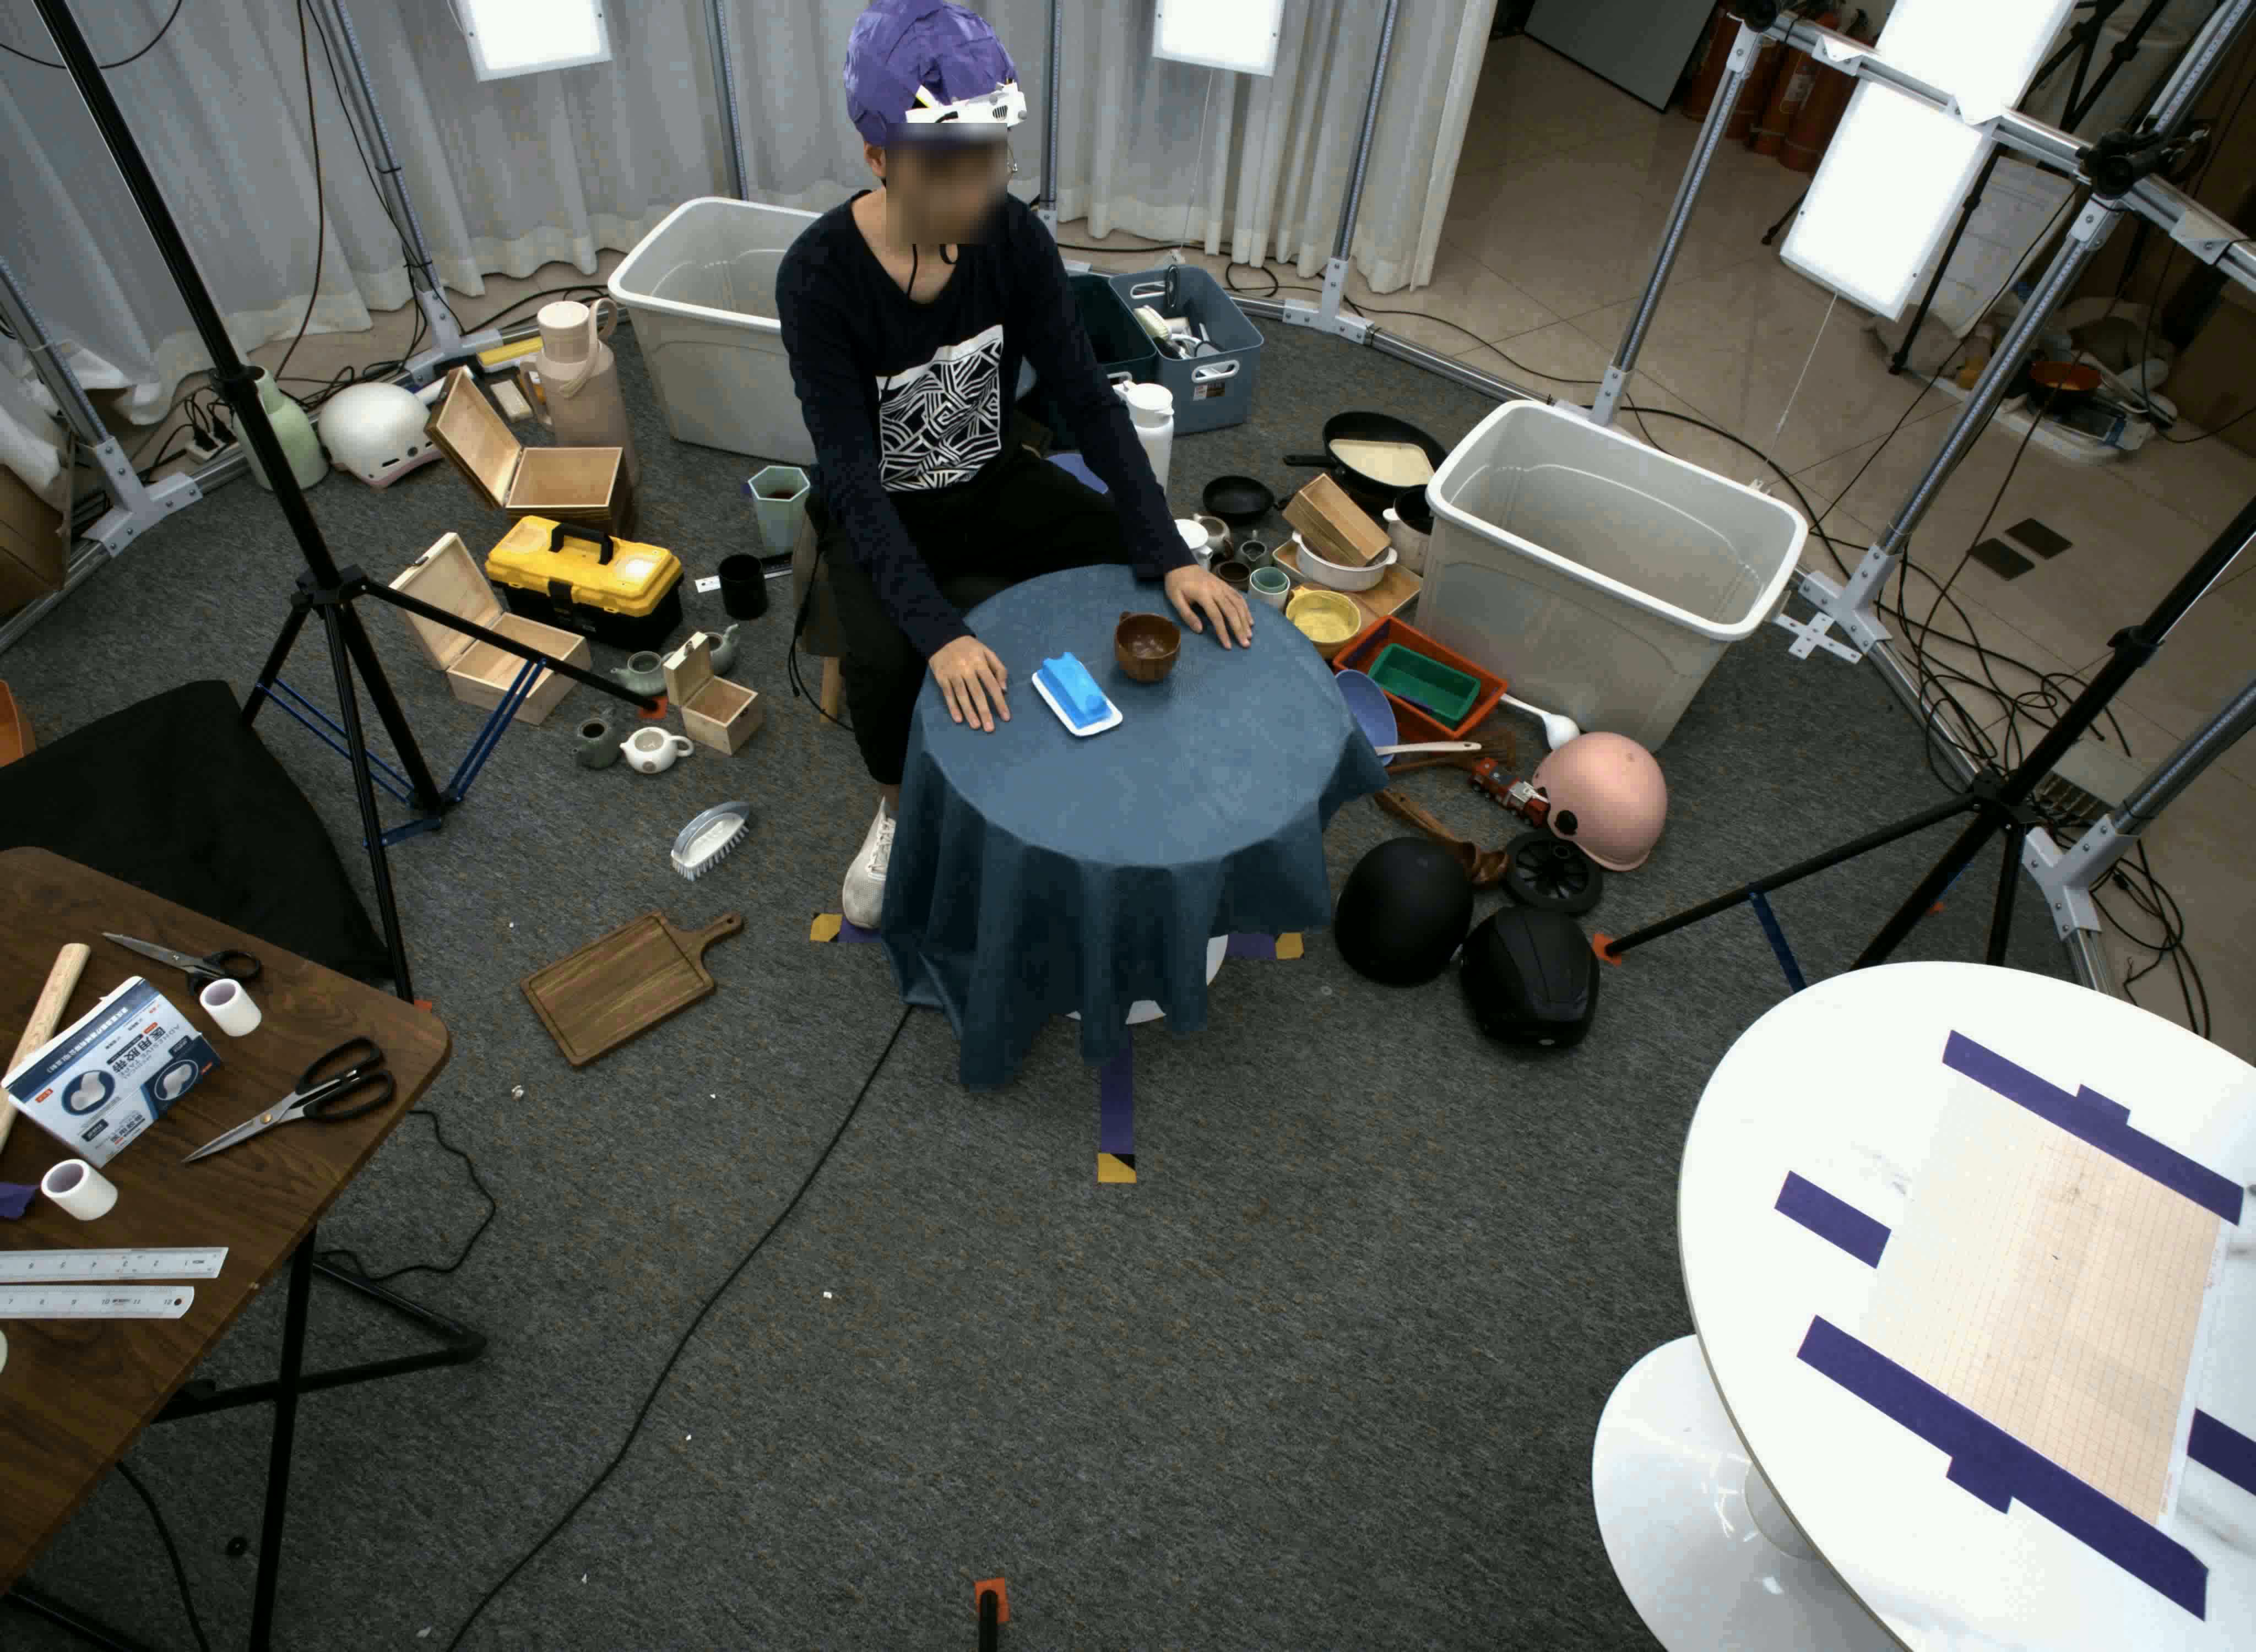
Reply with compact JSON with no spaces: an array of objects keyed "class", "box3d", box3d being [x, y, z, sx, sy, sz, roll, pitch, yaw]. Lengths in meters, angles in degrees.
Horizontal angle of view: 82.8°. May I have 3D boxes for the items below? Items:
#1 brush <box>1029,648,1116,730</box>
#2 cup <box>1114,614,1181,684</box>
[{"class":"brush","box3d":[-0.076,-0.199,1.796,0.084,0.054,0.147,-18,55,-22]},{"class":"cup","box3d":[0.023,-0.258,1.852,0.096,0.066,0.122,-25,52,-19]}]
